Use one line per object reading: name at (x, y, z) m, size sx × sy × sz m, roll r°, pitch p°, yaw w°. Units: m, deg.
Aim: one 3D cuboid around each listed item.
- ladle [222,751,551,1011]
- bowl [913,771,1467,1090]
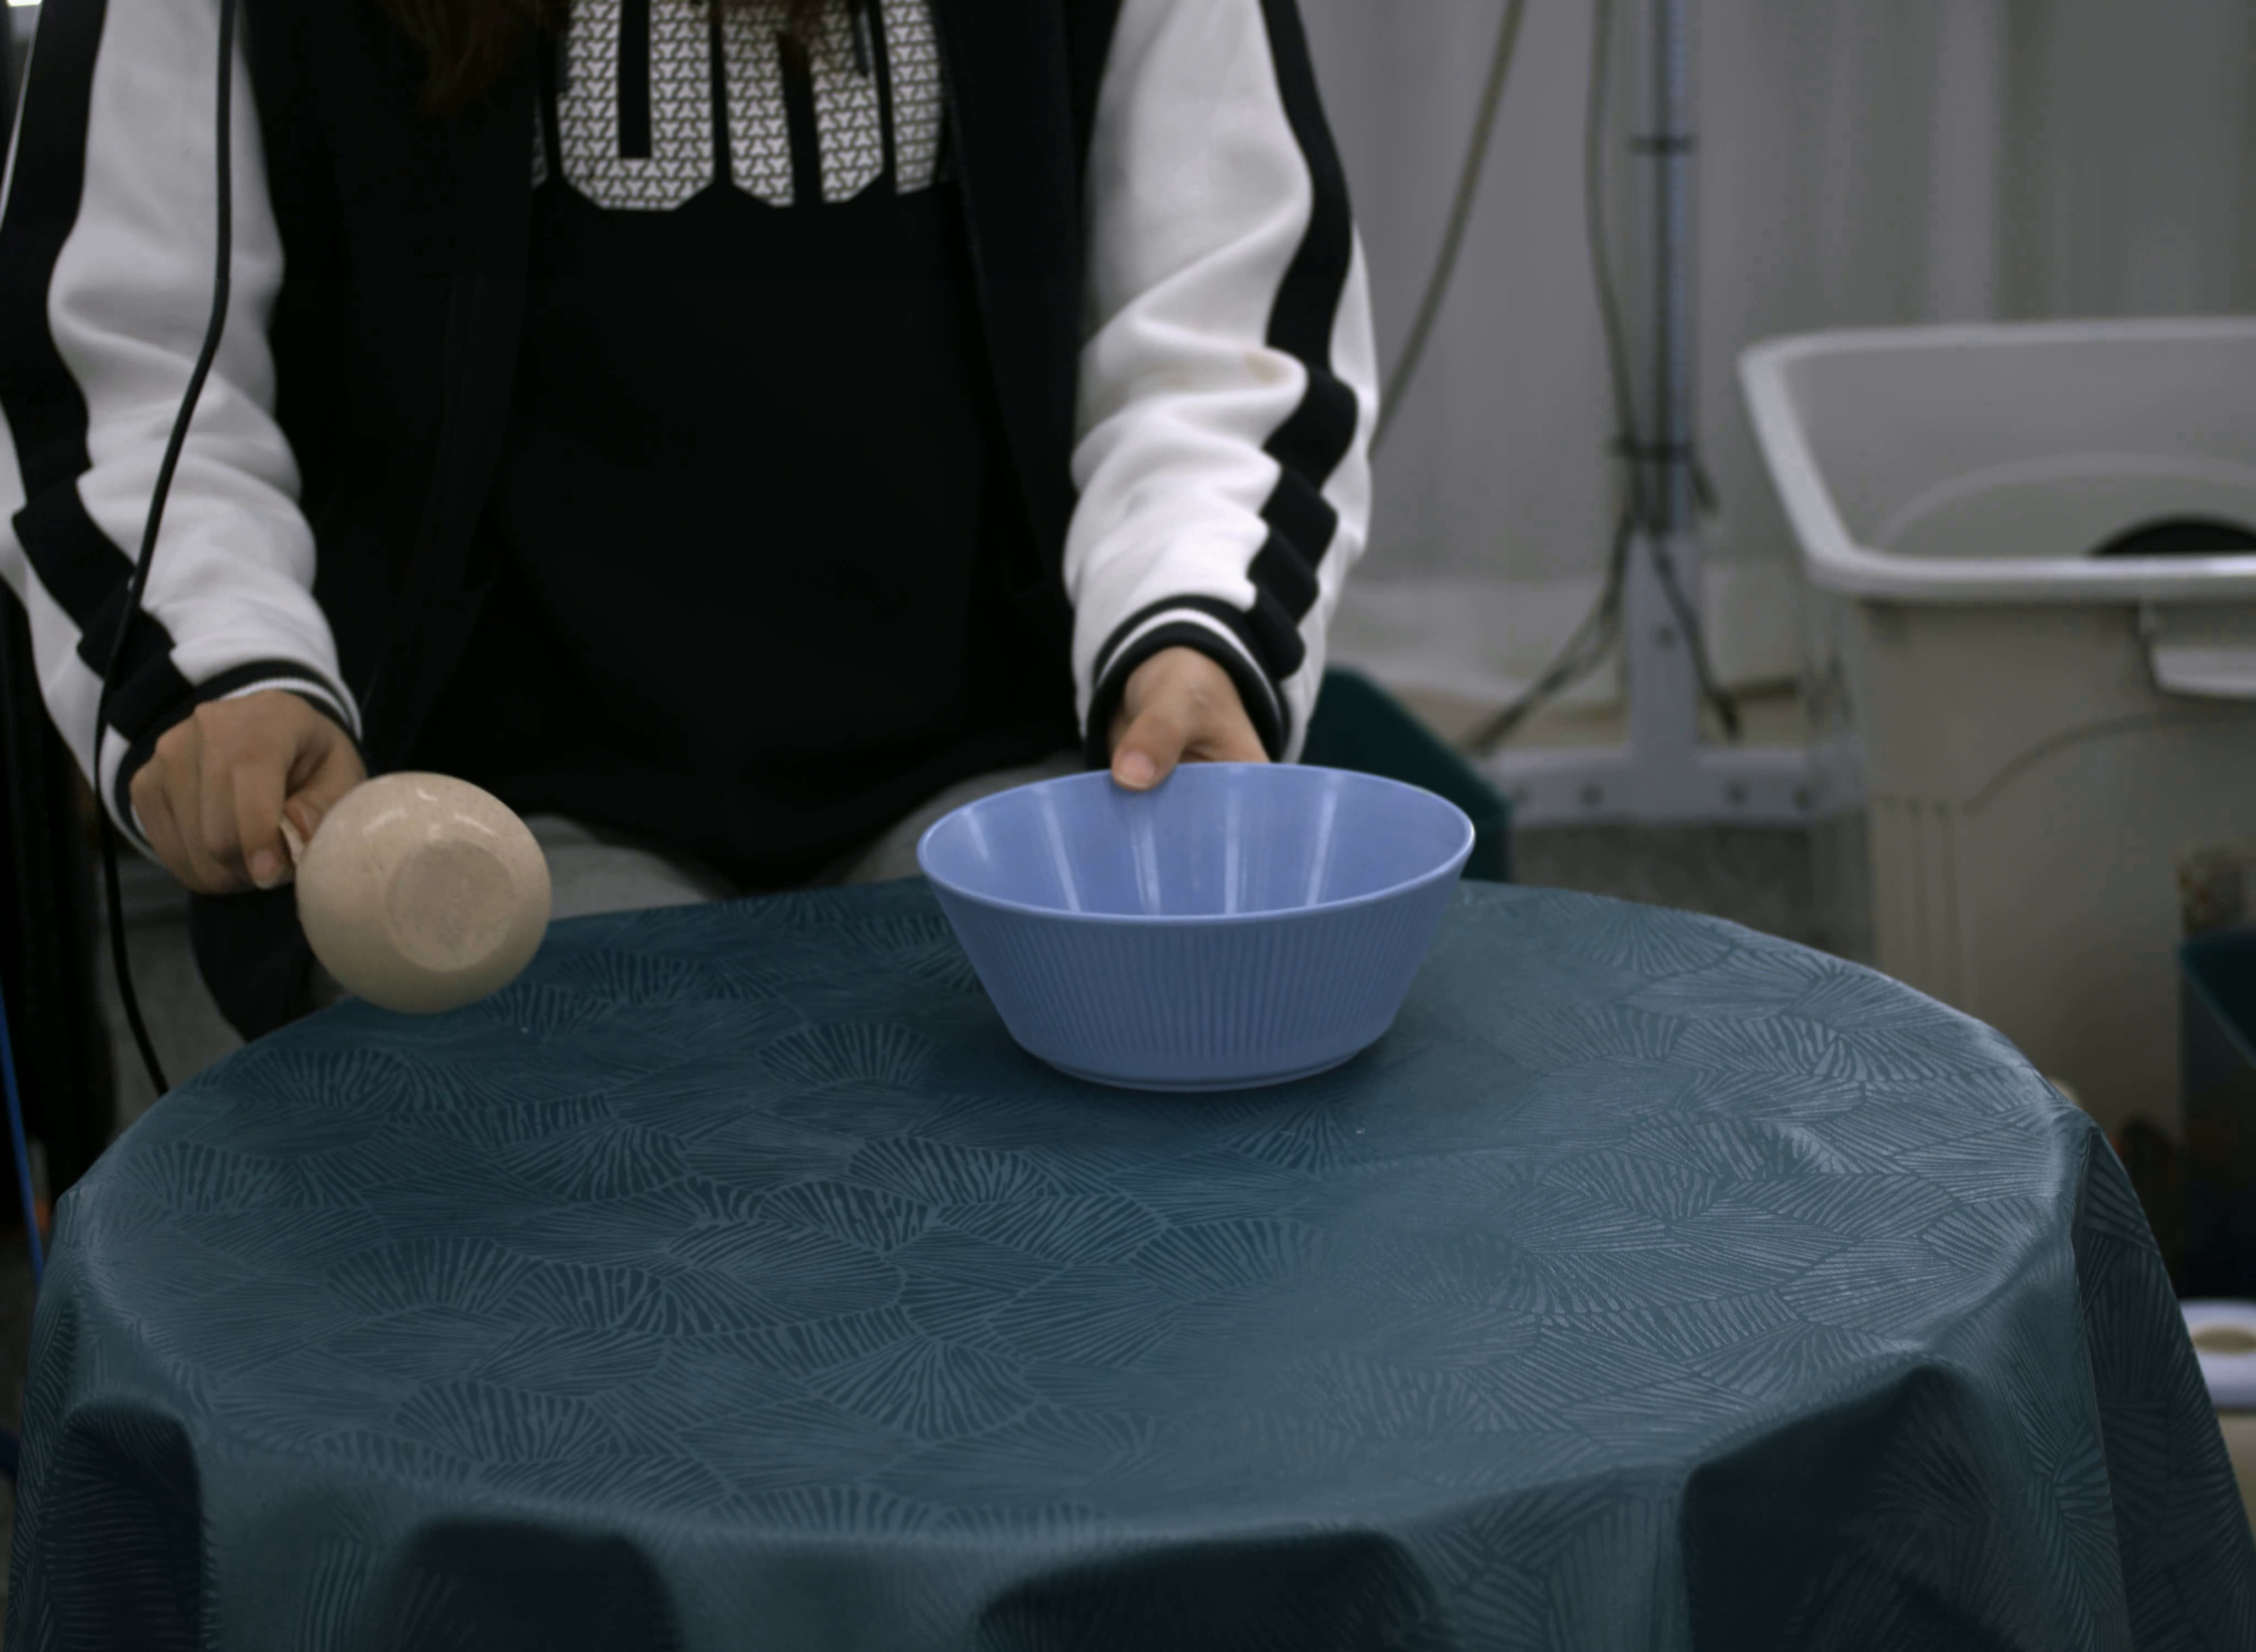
ladle at (-0.234, 0.002, 1.671) m, size 0.072 × 0.072 × 0.258 m, roll -6°, pitch 11°, yaw -14°
bowl at (0.020, 0.035, 1.684) m, size 0.175 × 0.070 × 0.177 m, roll -2°, pitch 15°, yaw -1°
